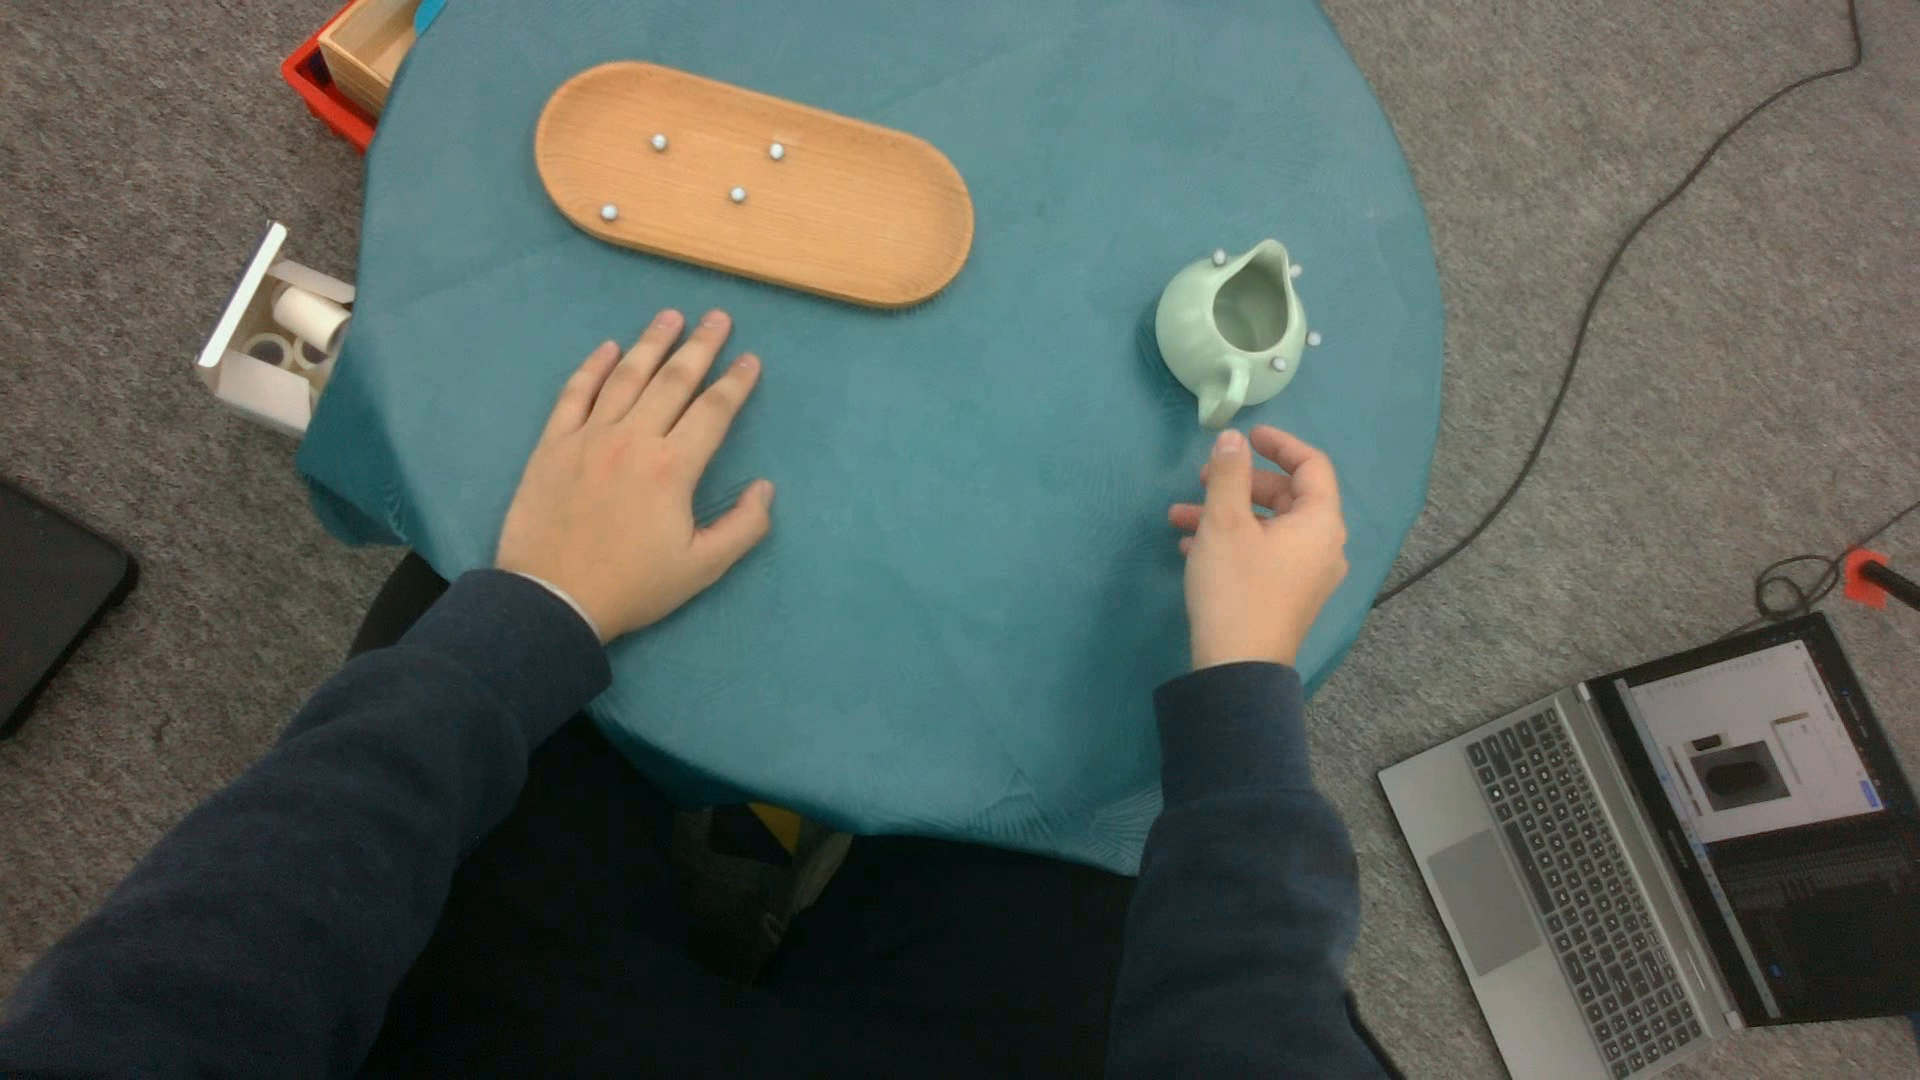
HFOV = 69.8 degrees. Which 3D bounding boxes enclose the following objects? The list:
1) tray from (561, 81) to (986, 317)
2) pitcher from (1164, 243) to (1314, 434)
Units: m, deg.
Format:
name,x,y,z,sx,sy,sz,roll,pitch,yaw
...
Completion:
name,x,y,z,sx,sy,sz,roll,pitch,yaw
tray,-0.099,-0.184,0.750,0.231,0.020,0.102,12,76,-11
pitcher,0.155,-0.107,0.763,0.086,0.060,0.108,17,76,-6
